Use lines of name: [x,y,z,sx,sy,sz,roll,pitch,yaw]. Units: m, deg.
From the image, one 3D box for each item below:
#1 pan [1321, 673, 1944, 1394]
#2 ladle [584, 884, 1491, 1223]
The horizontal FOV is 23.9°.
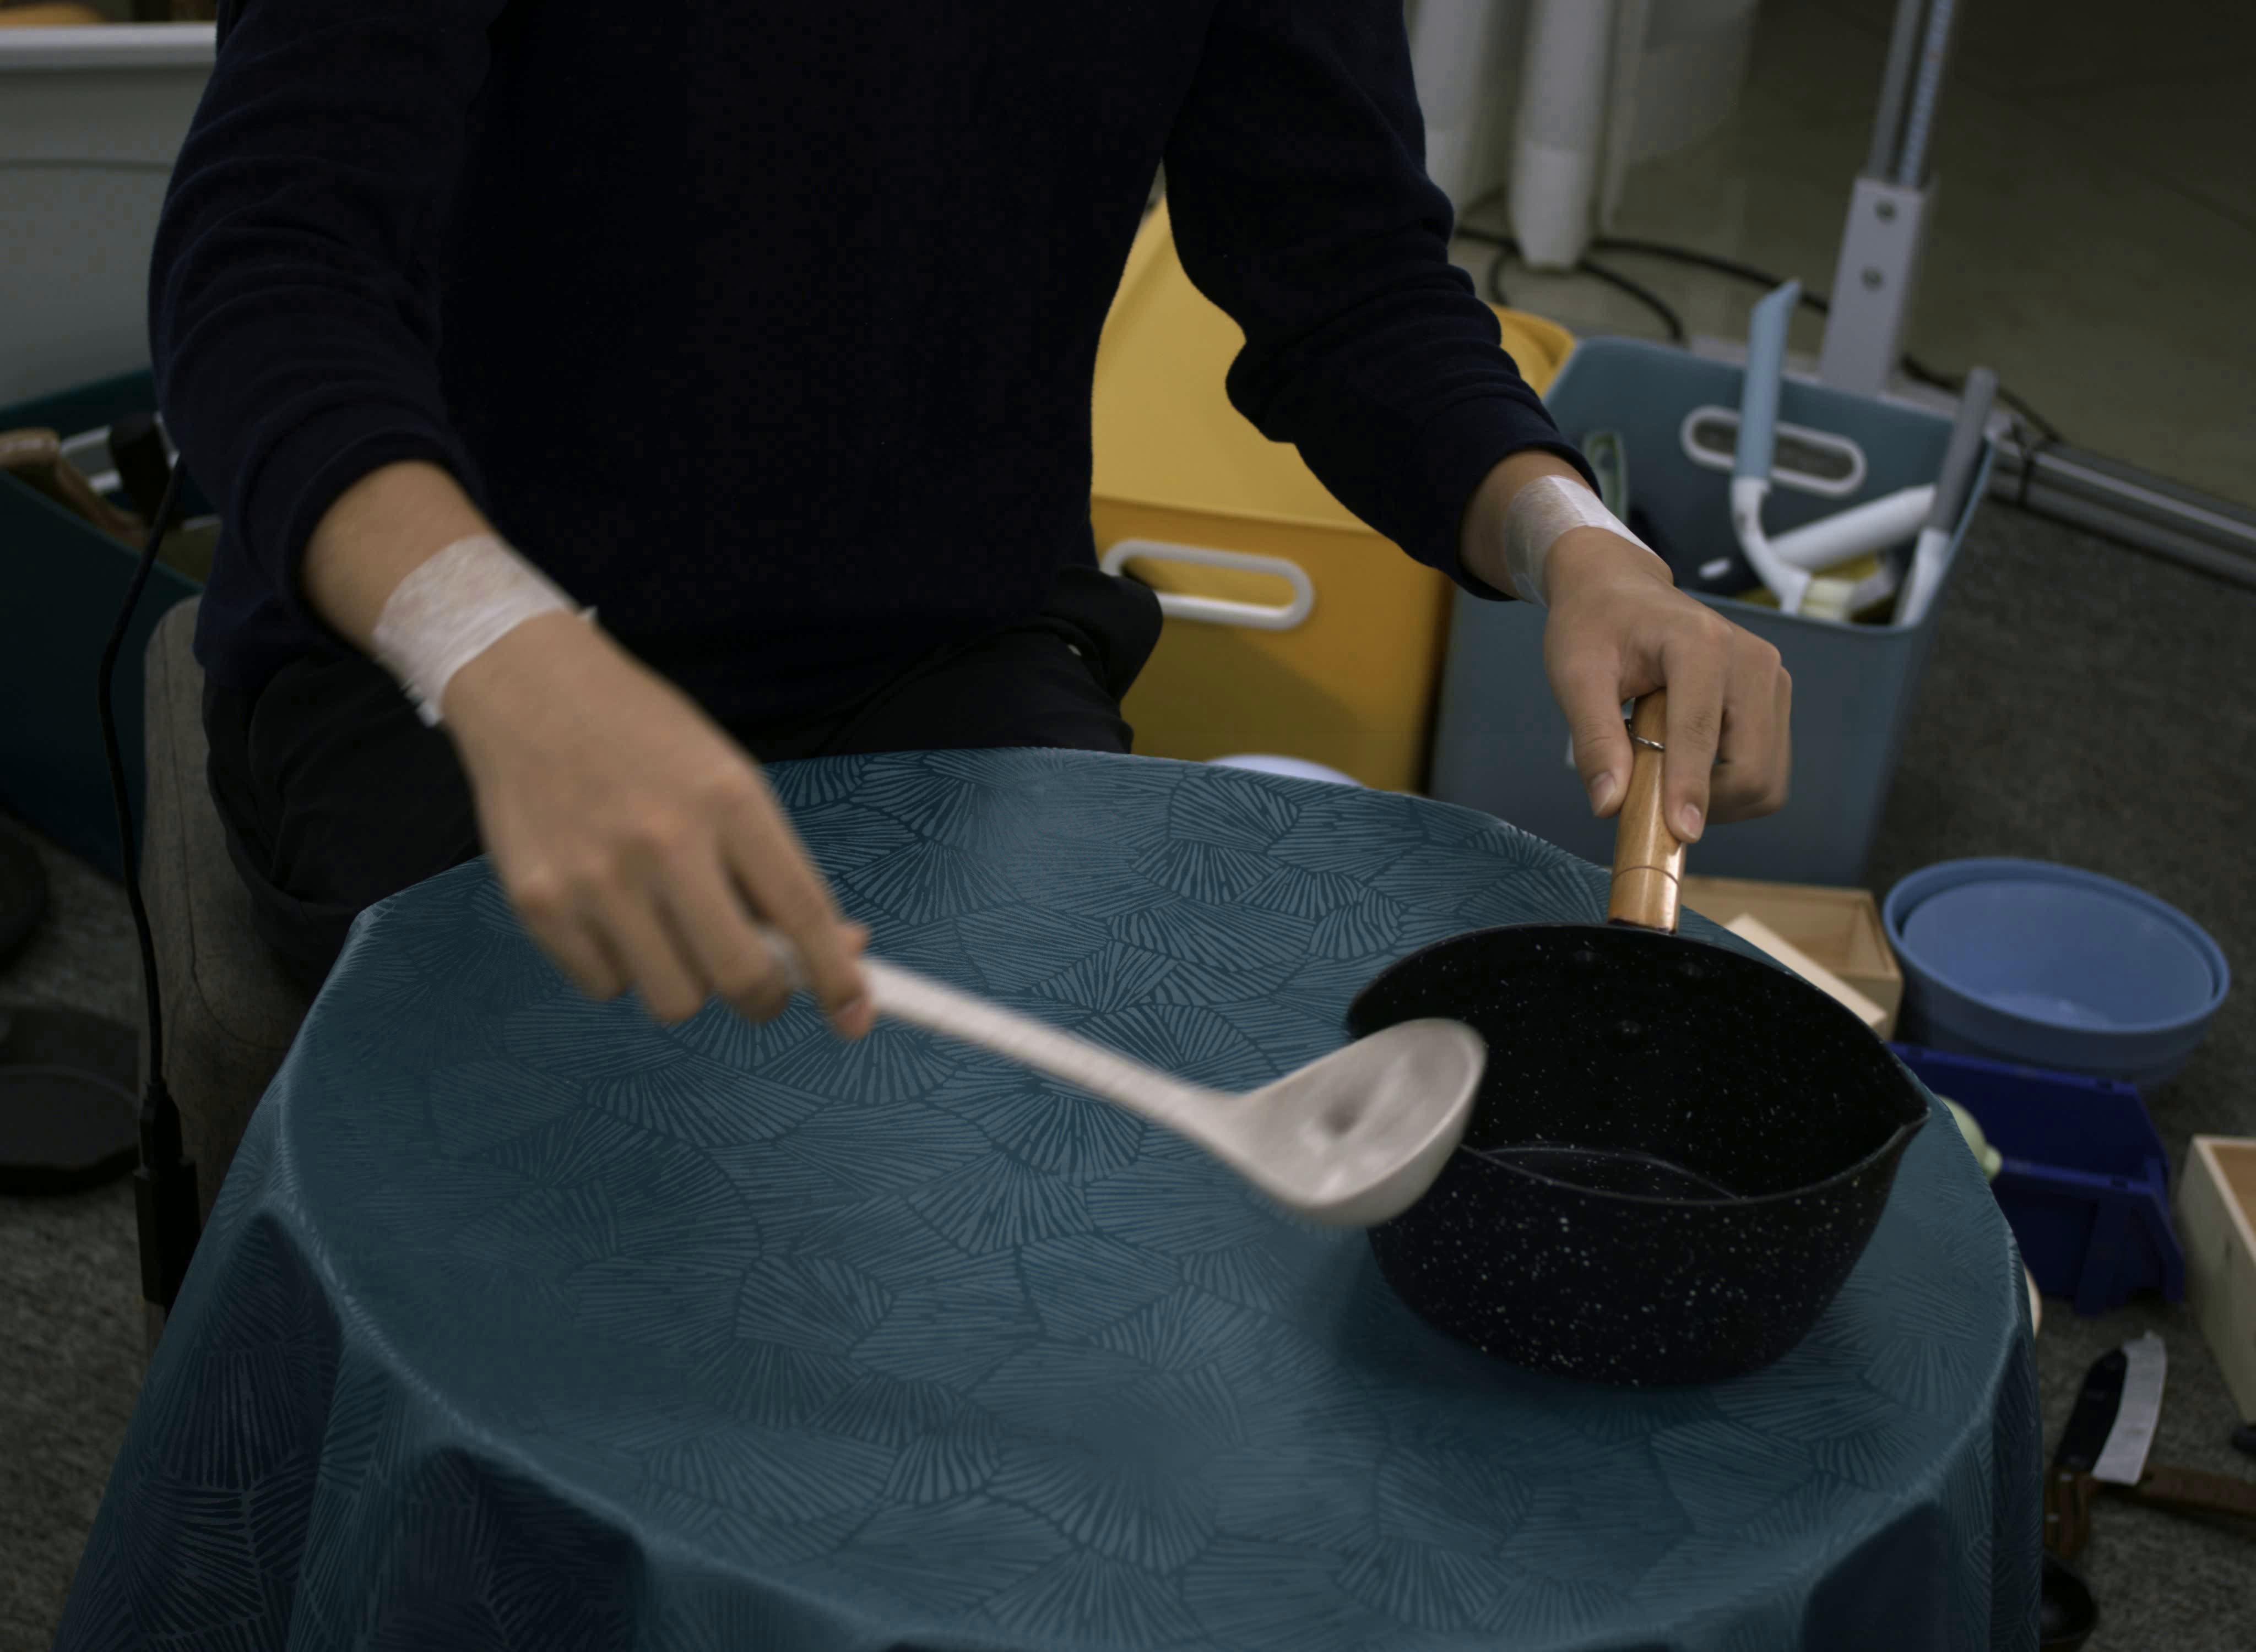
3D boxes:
pan: [0.171,0.067,1.834,0.207,0.108,0.344,7,28,3]
ladle: [-0.026,0.047,1.607,0.274,0.069,0.090,21,34,-6]
